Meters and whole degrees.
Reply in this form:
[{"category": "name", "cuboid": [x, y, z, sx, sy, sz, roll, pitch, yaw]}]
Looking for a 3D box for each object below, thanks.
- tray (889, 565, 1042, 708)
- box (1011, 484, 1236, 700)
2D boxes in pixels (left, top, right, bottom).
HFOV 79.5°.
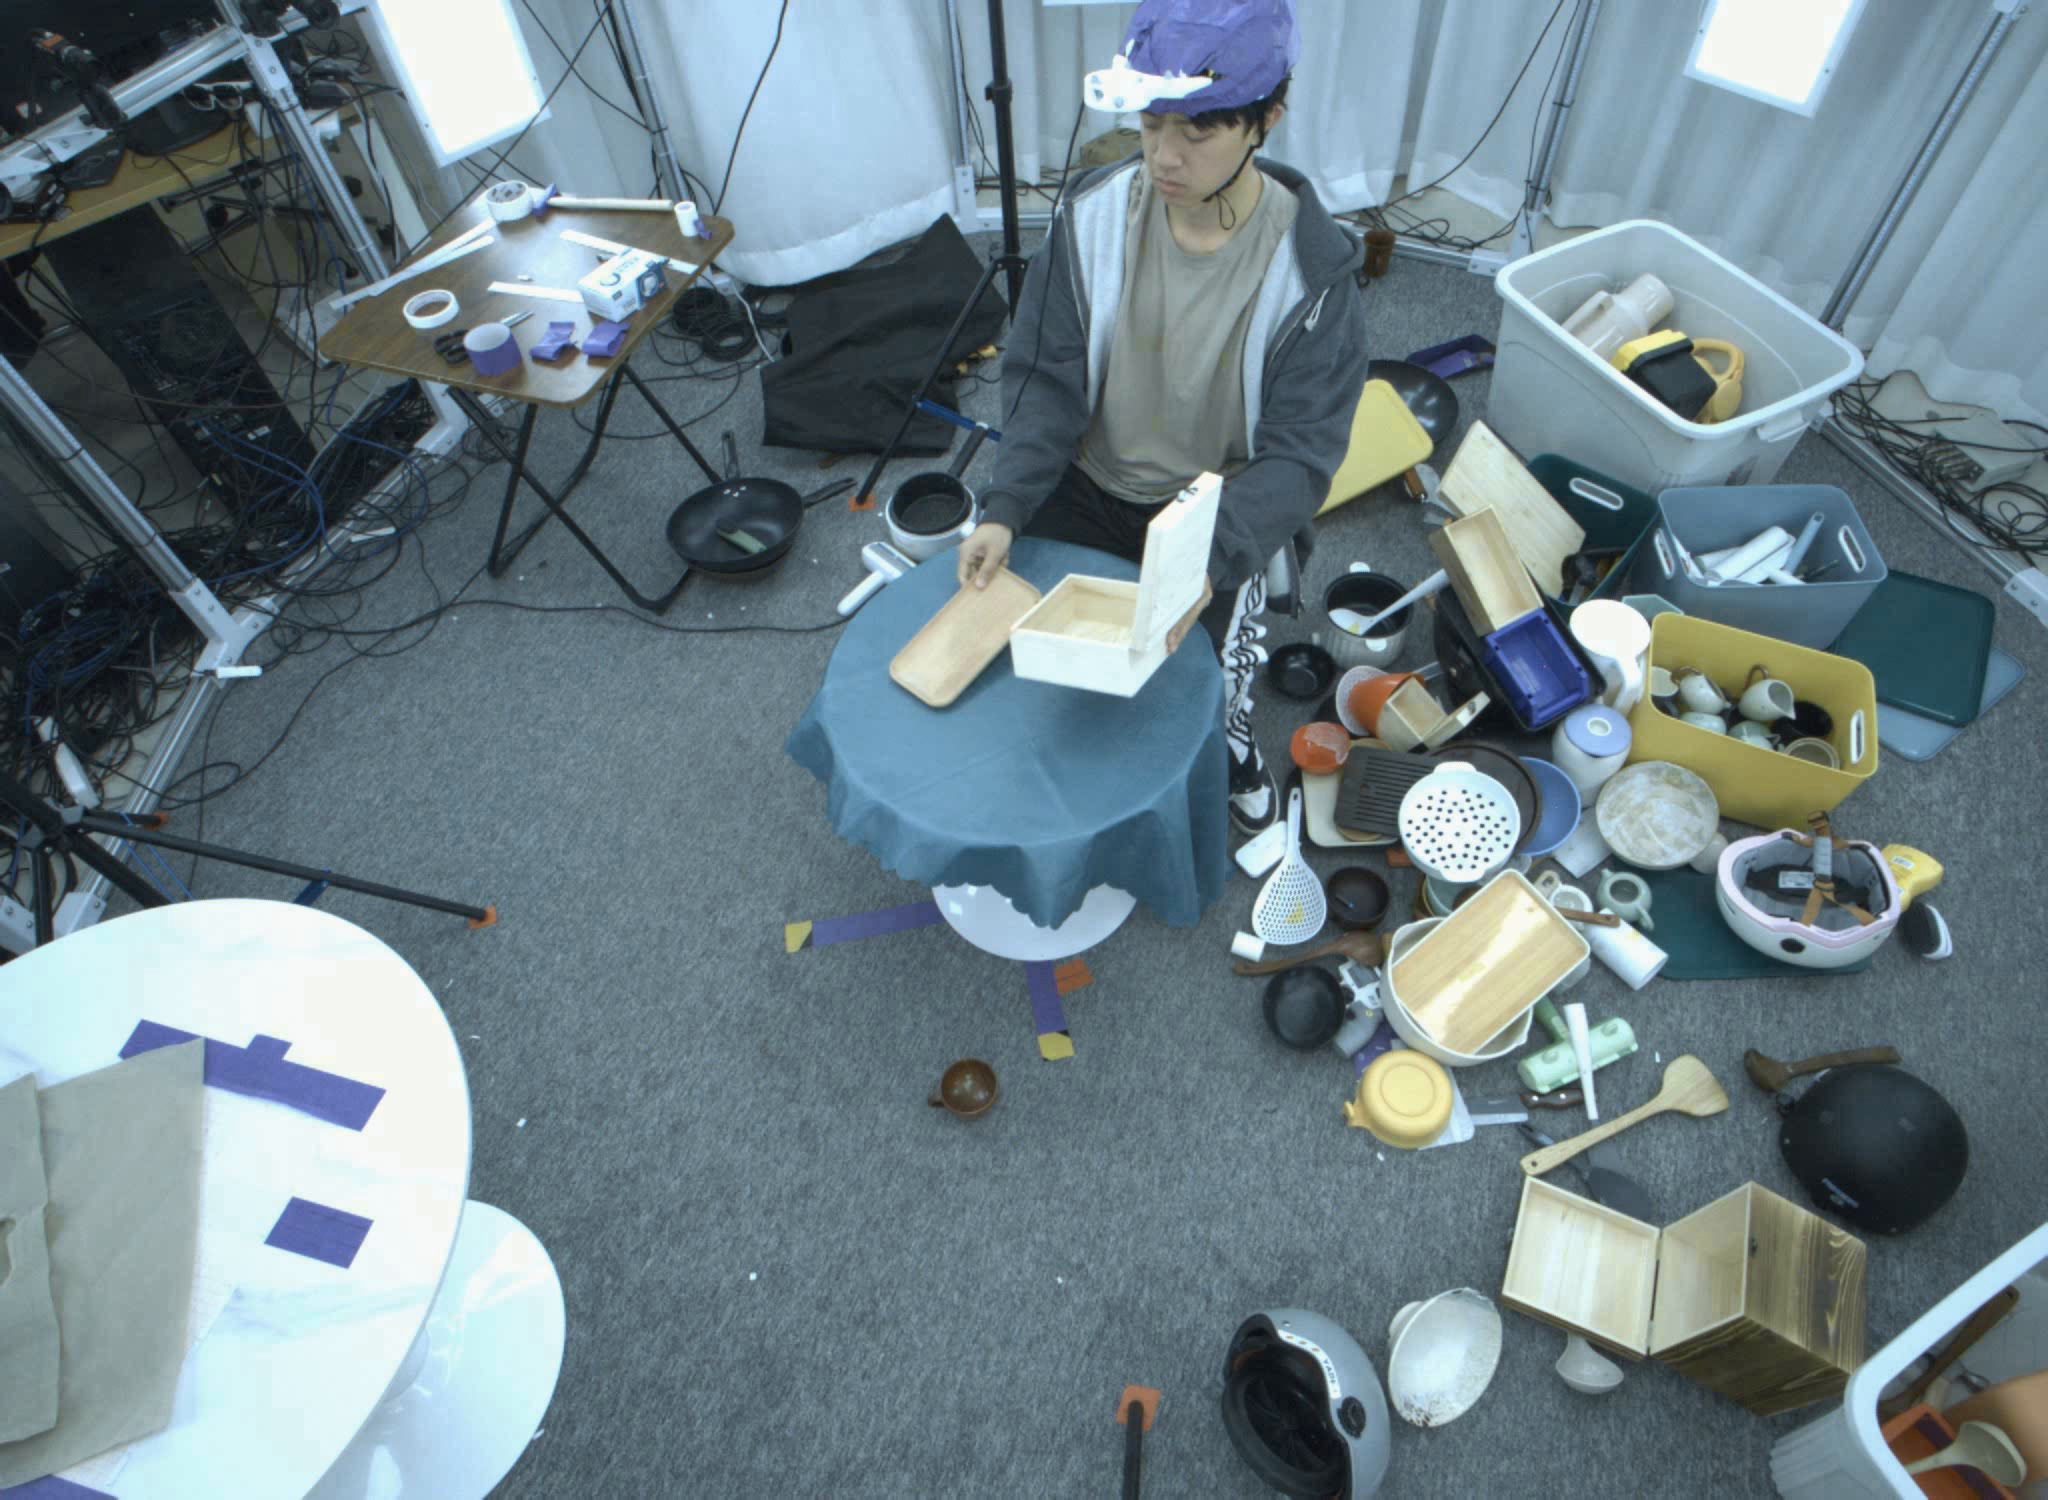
[{"category": "tray", "cuboid": [-0.089, -0.175, 1.880, 0.128, 0.023, 0.251, 37, 74, 21]}, {"category": "box", "cuboid": [0.129, -0.226, 1.658, 0.260, 0.256, 0.183, 13, 36, 24]}]
